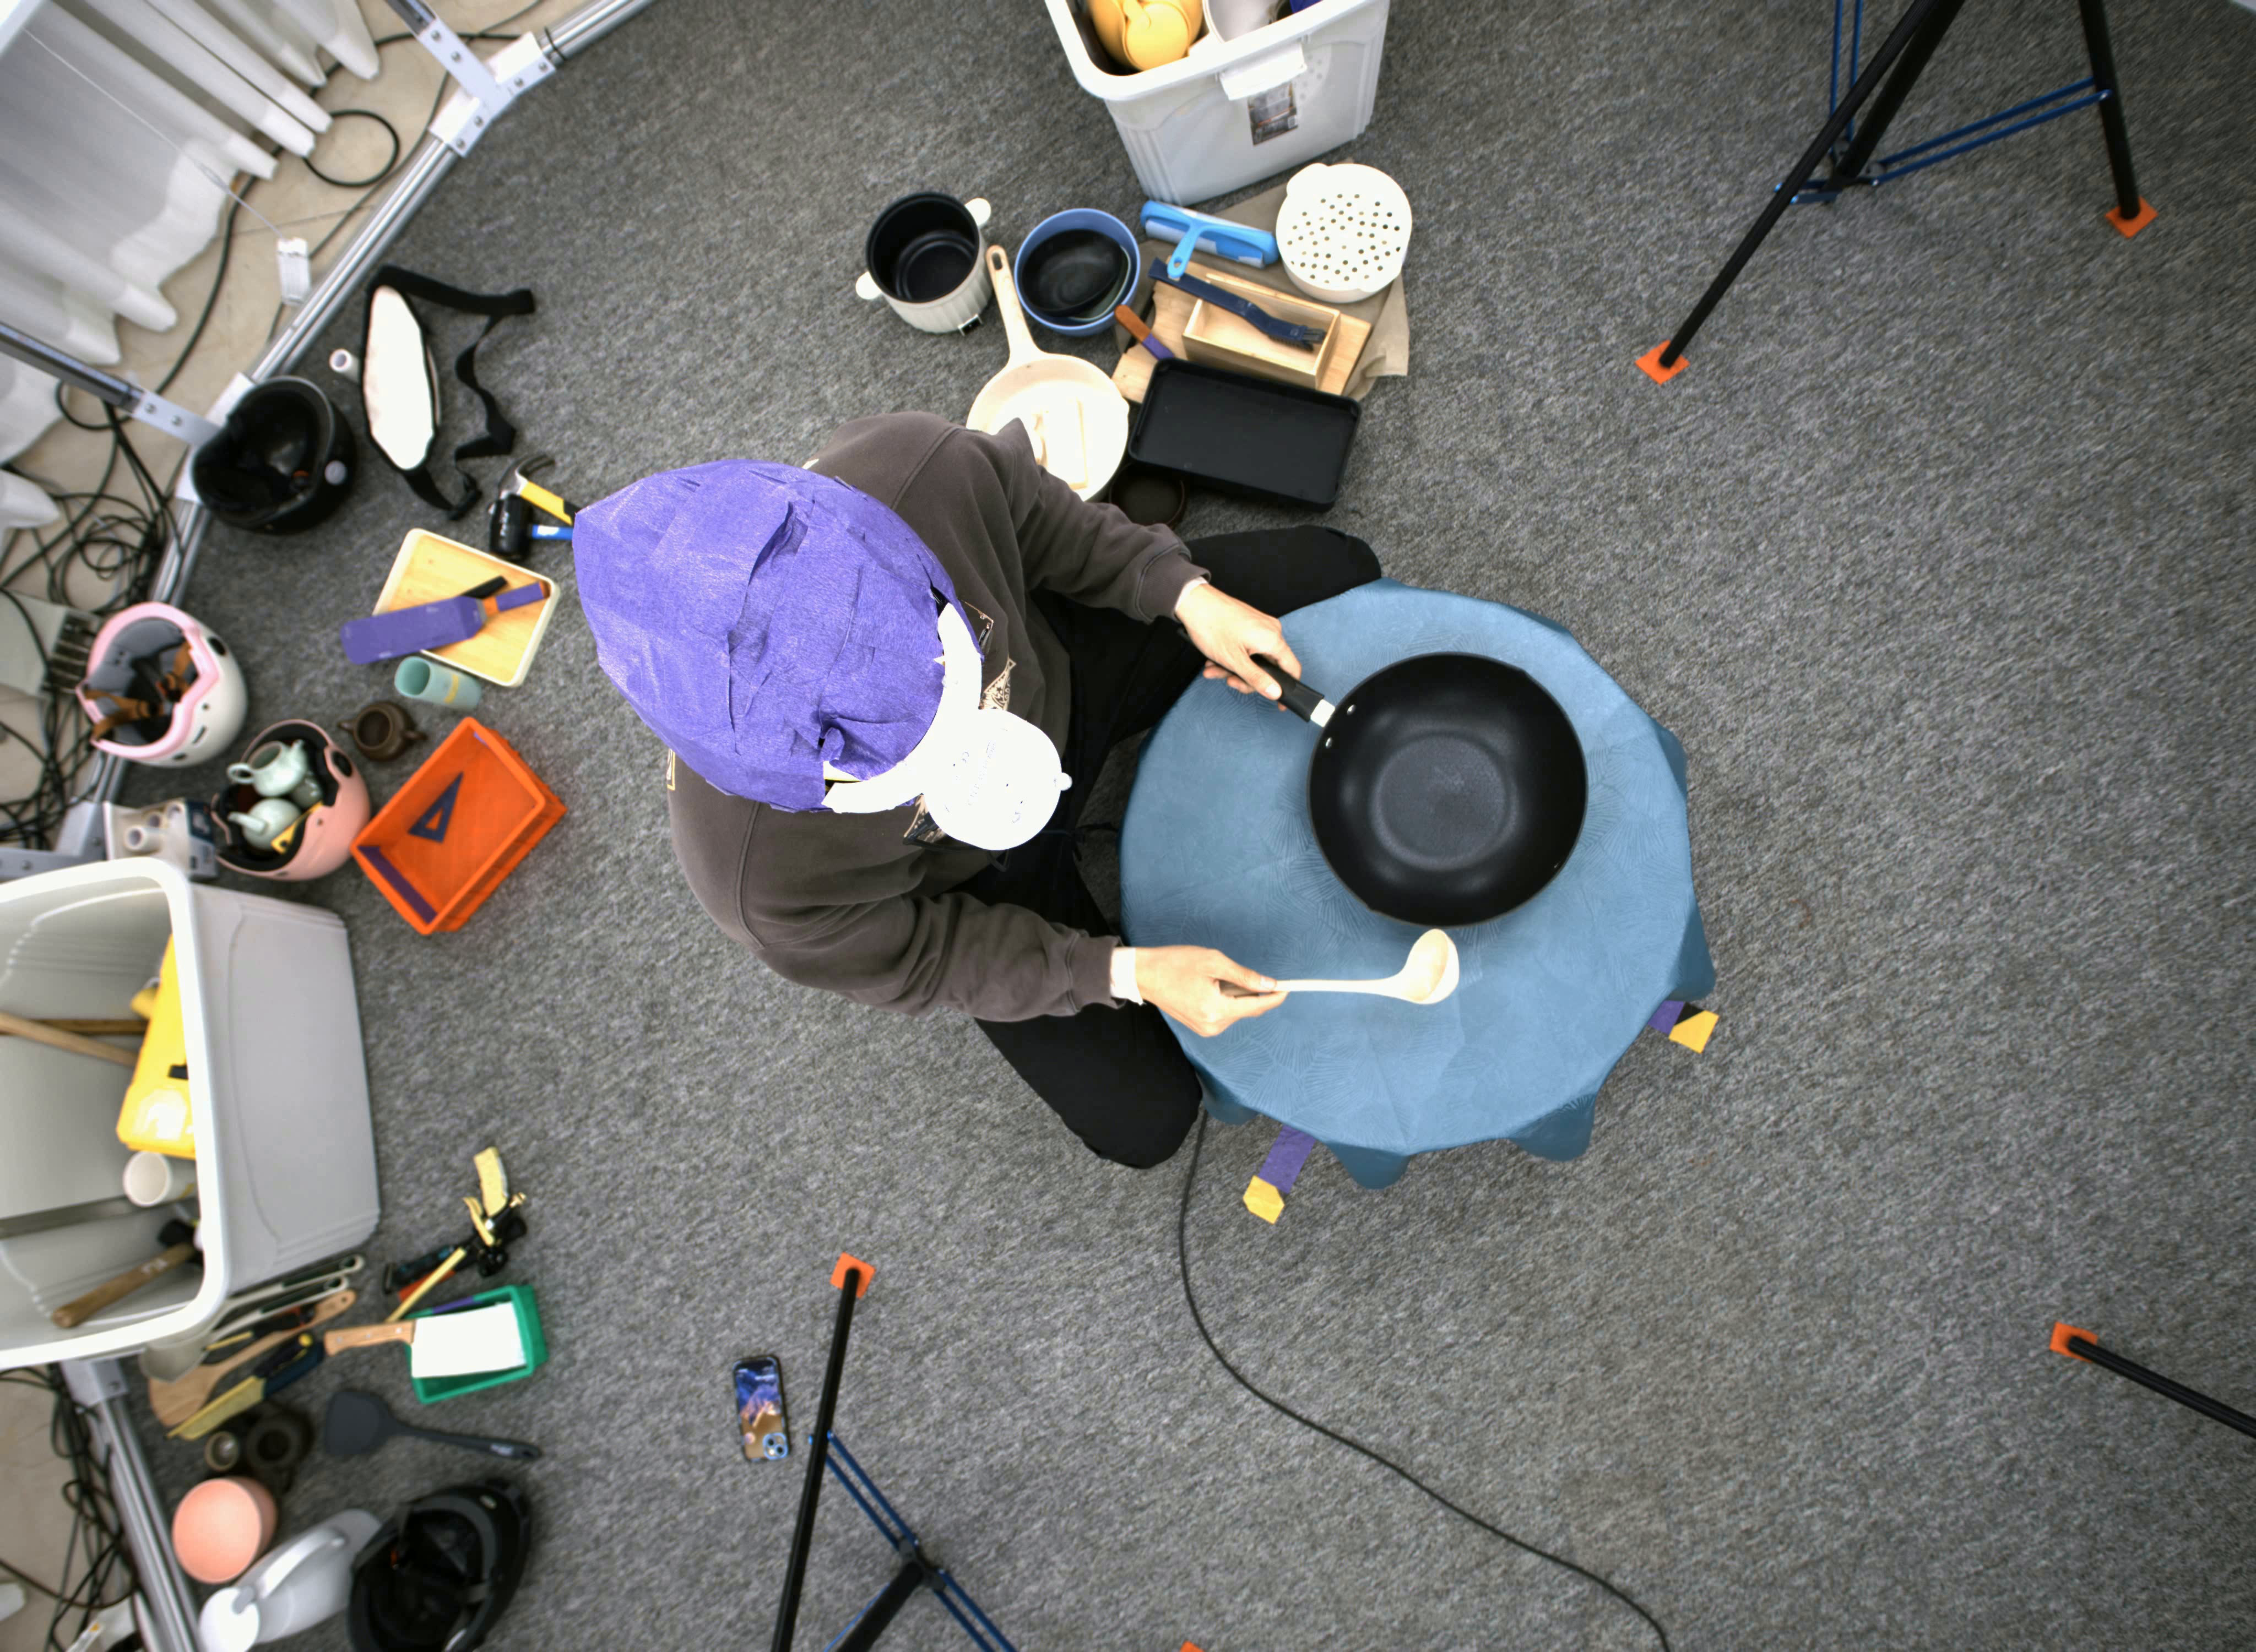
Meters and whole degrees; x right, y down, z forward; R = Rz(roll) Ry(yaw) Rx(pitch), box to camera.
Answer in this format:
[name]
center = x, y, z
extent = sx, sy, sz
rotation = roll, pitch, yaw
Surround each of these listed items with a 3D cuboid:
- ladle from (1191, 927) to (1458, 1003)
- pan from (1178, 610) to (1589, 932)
[ladle]
center = 0.188, 0.136, 1.329
extent = 0.255, 0.074, 0.070
rotation = -2, 50, -1
[pan]
center = 0.248, -0.082, 1.427
extent = 0.462, 0.087, 0.289
rotation = 34, 94, 11
